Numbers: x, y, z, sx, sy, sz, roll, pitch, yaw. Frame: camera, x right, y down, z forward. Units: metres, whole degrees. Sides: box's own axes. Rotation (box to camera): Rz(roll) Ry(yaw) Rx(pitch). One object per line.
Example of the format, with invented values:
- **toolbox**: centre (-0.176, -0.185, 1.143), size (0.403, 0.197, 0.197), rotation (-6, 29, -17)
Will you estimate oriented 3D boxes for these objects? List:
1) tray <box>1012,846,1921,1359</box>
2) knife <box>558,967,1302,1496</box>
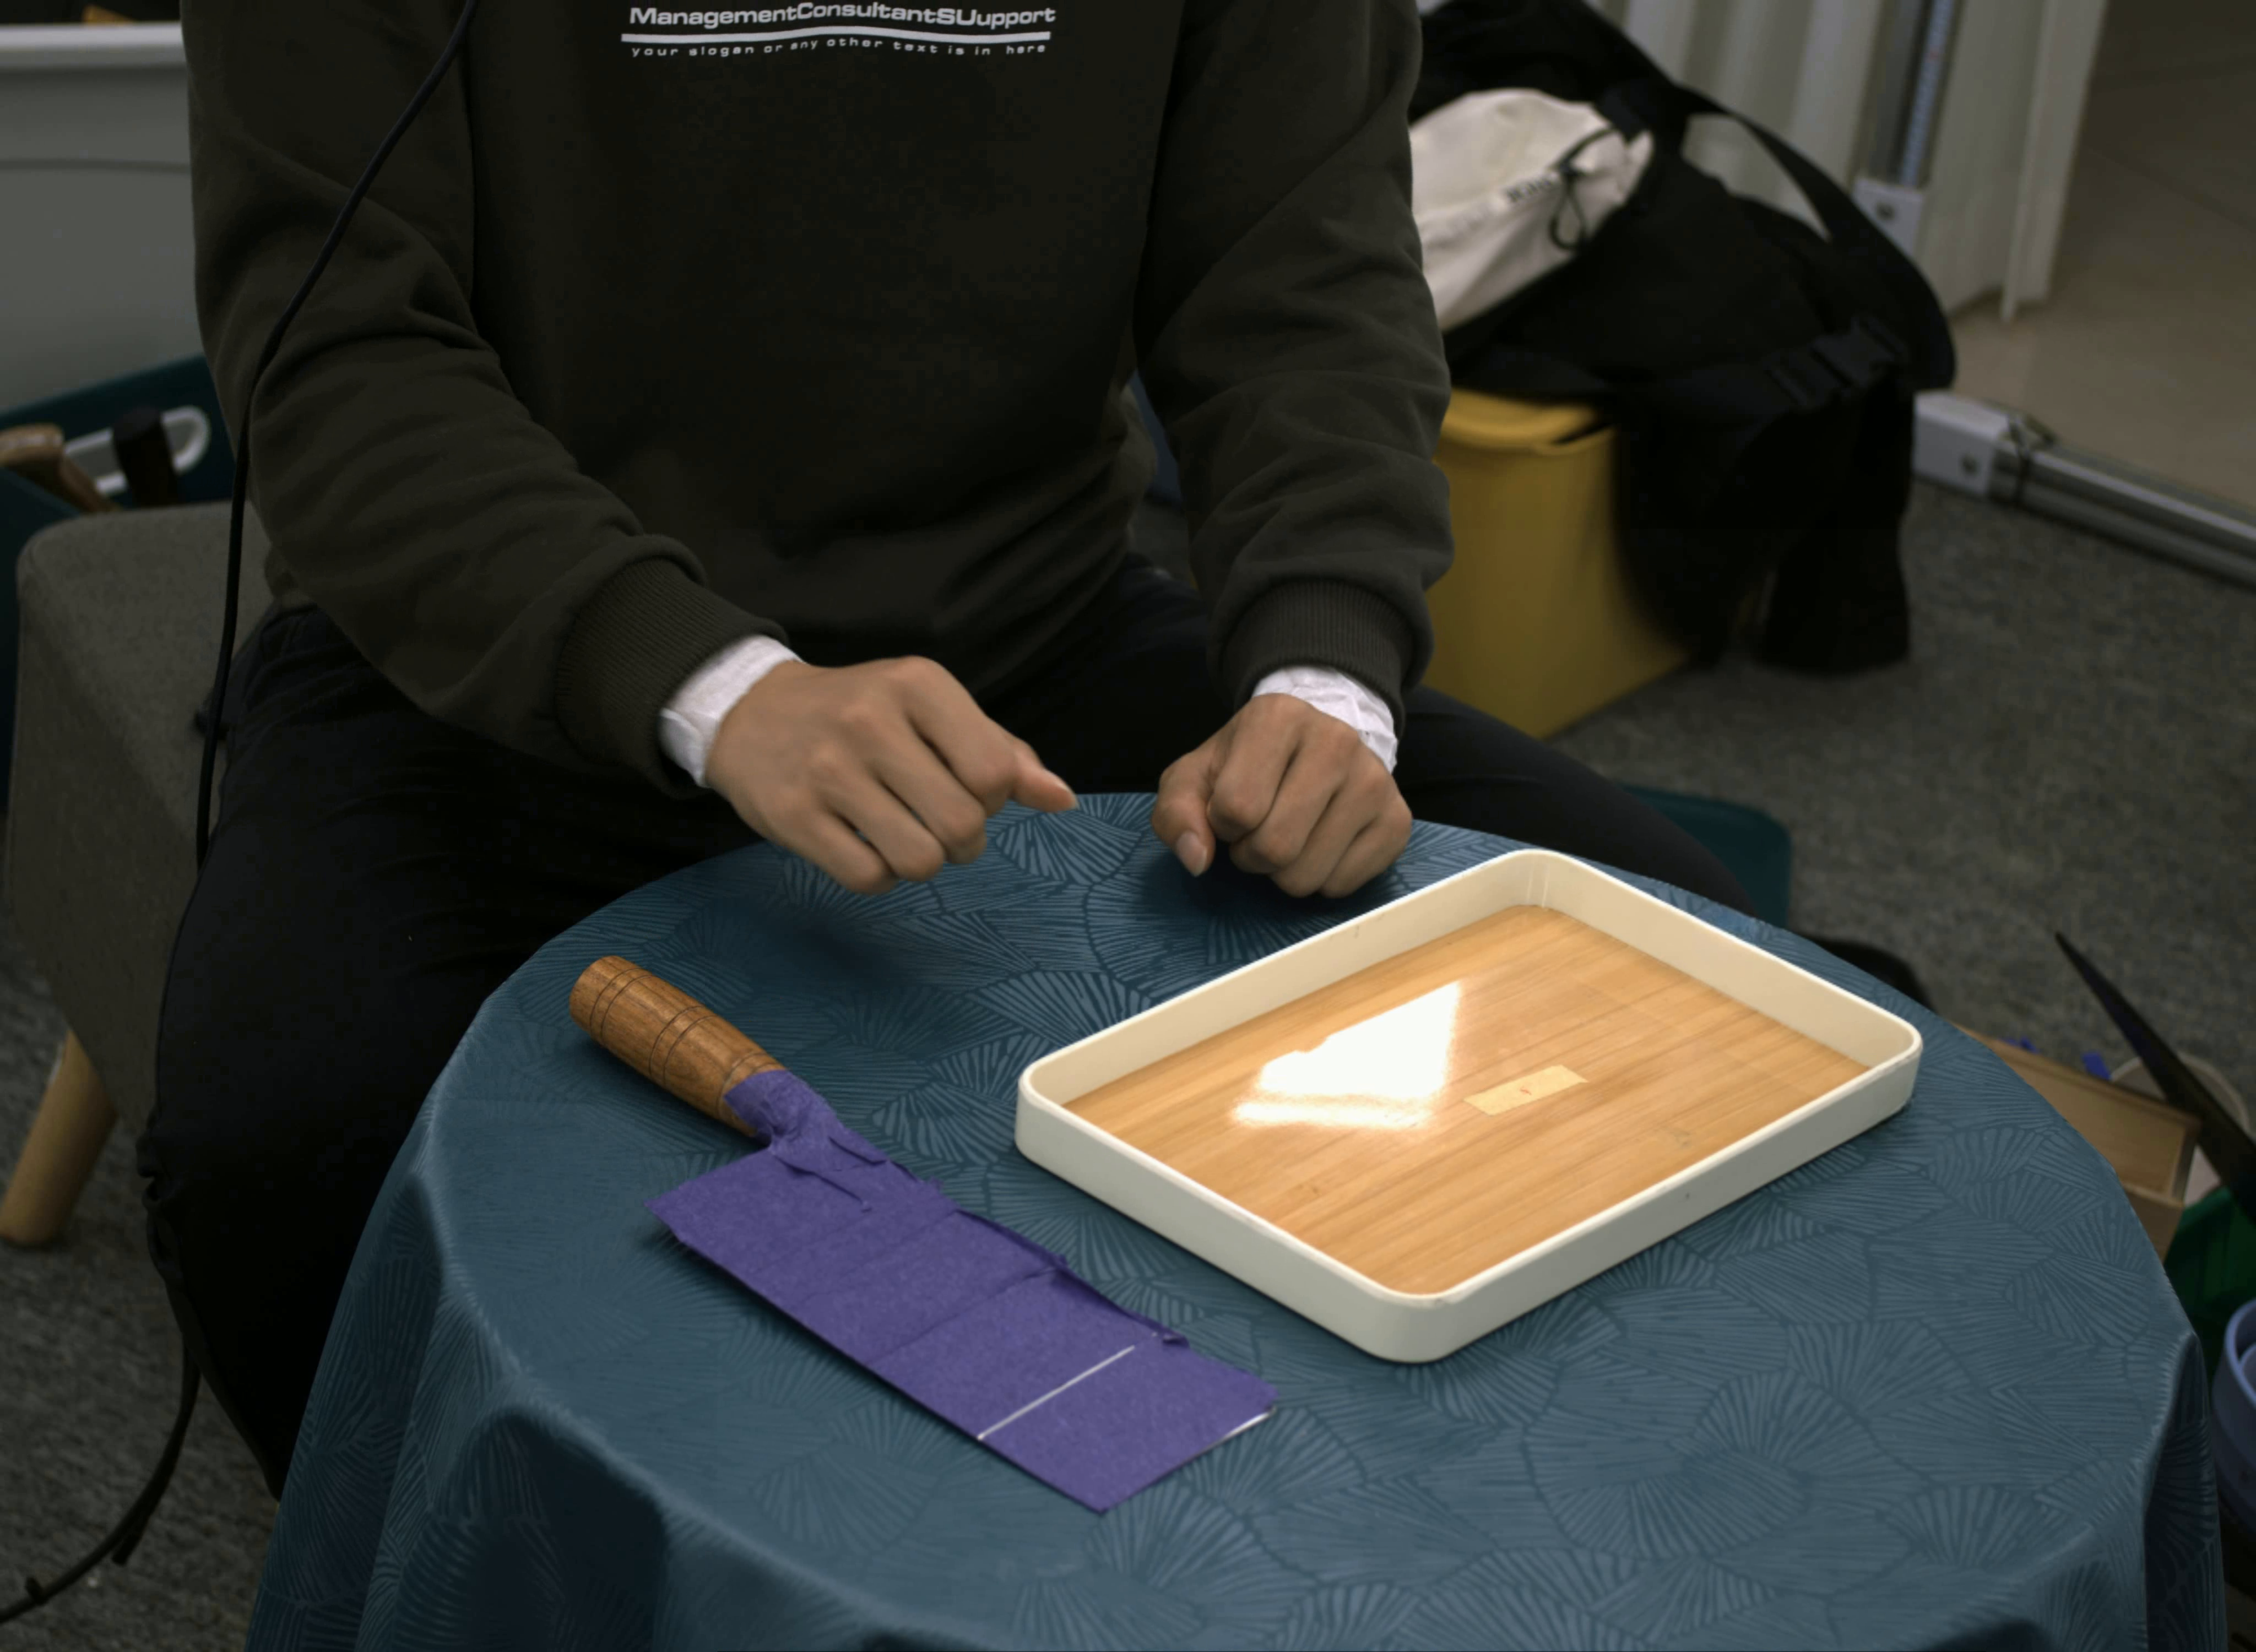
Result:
- **tray**: centre (0.122, 0.091, 1.867), size (0.193, 0.027, 0.299), rotation (27, 33, 35)
- **knife**: centre (-0.092, 0.129, 1.743), size (0.317, 0.032, 0.103), rotation (27, 33, 34)
